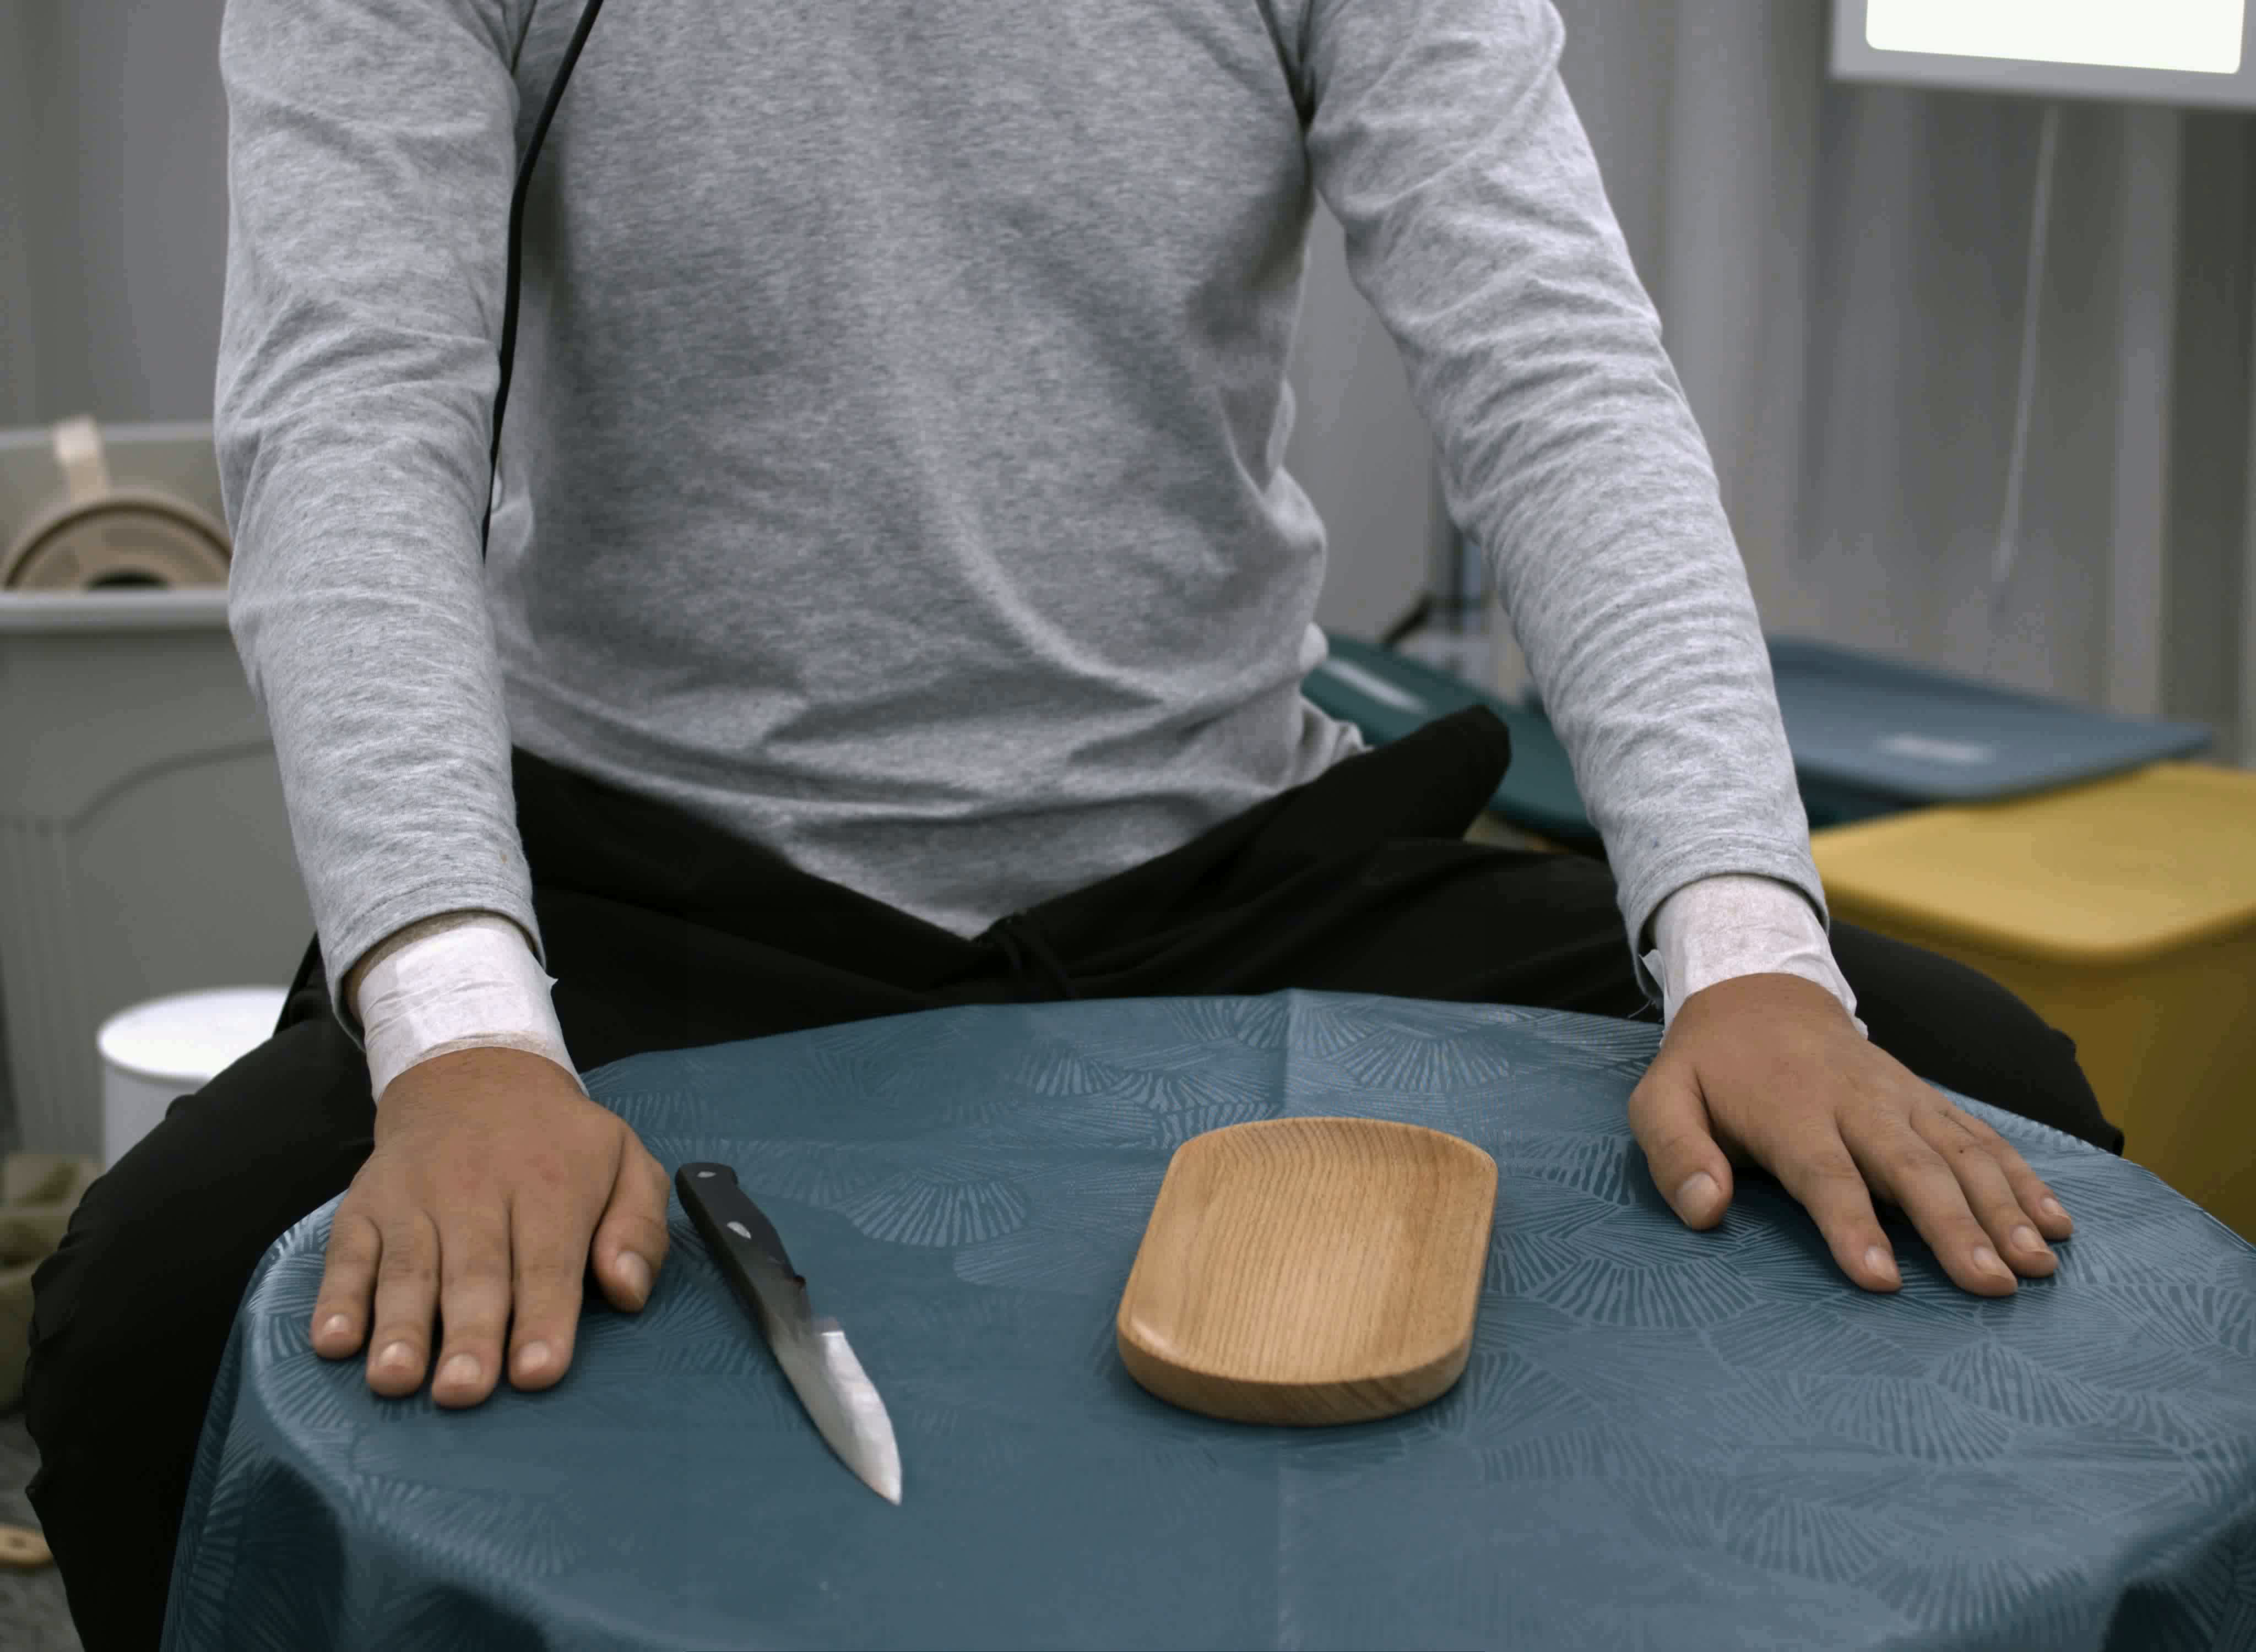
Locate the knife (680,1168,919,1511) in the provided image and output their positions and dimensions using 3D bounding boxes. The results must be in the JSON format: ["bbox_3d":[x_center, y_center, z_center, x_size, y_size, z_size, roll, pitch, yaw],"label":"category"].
[{"bbox_3d":[-0.094,0.144,1.486,0.024,0.016,0.235,-2,18,-18],"label":"knife"}]

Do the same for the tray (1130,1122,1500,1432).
[{"bbox_3d":[0.057,0.129,1.538,0.101,0.020,0.230,1,16,5],"label":"tray"}]
